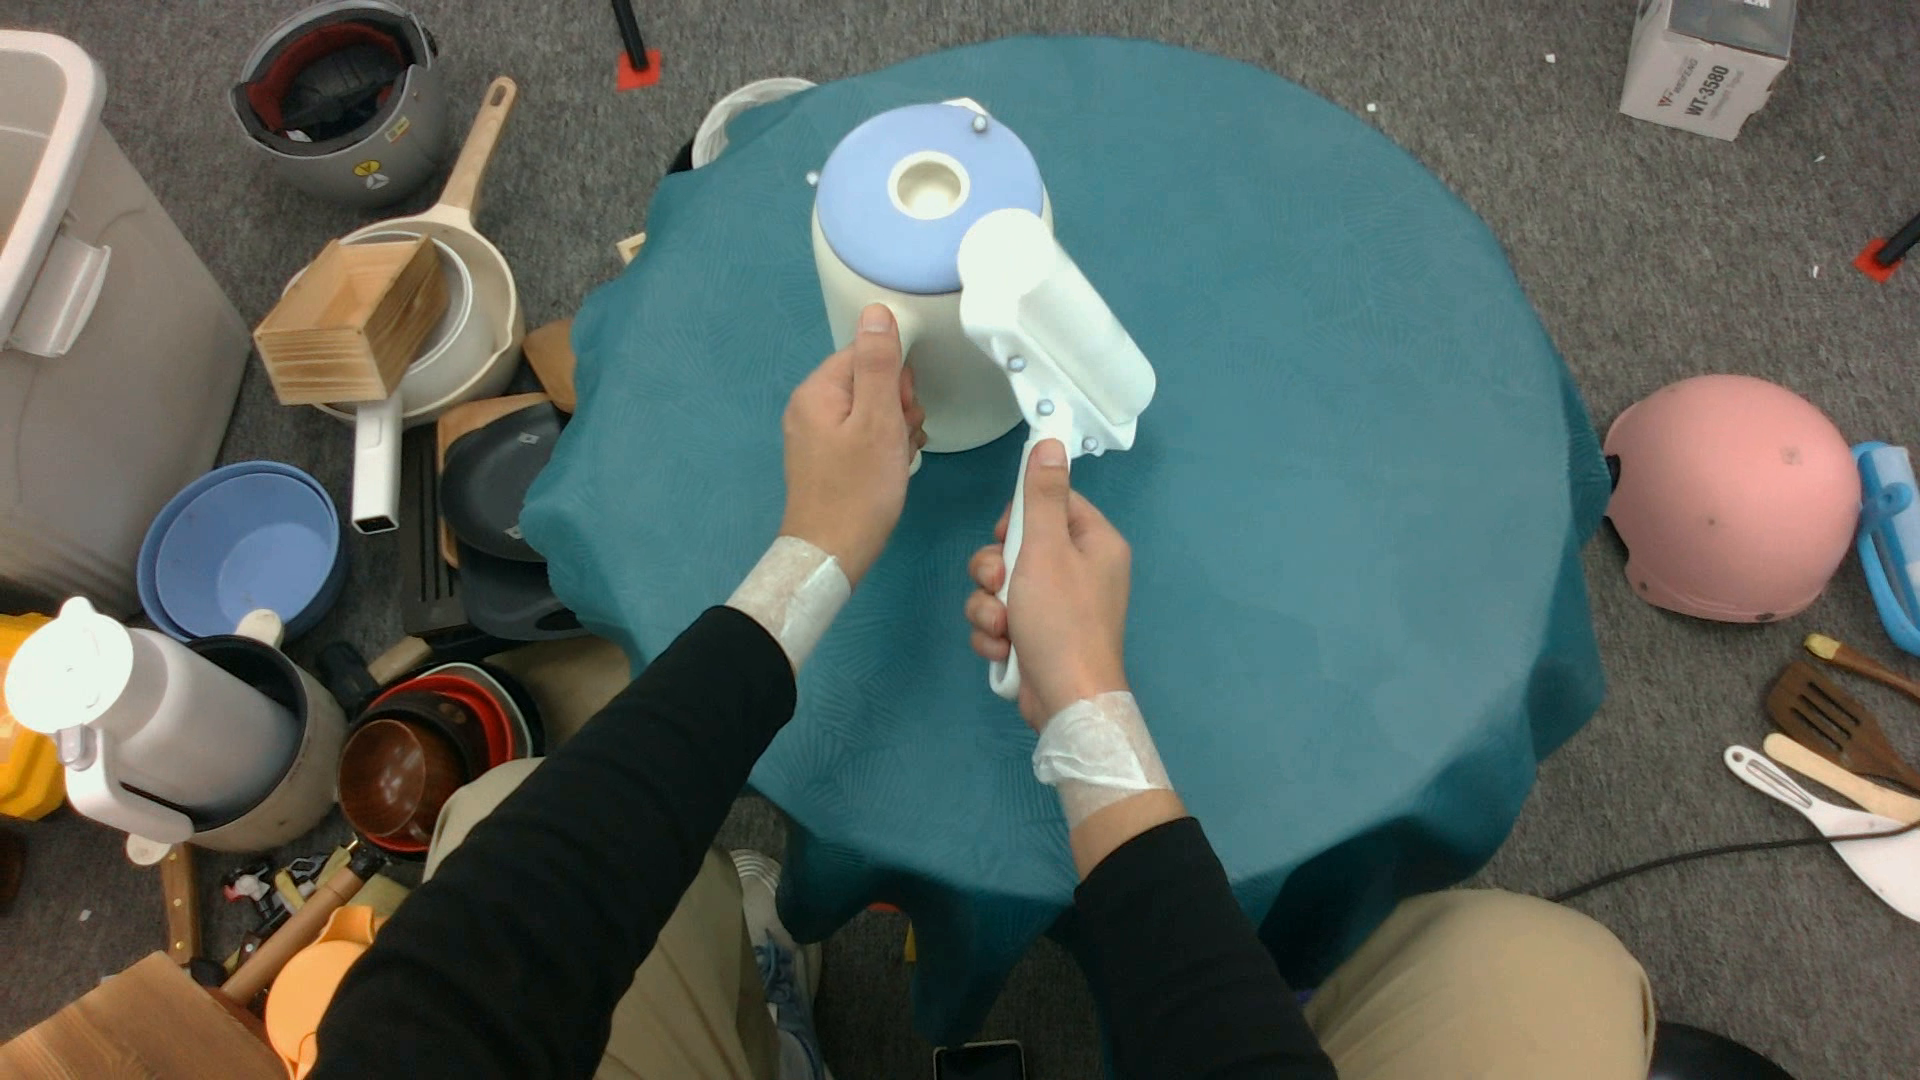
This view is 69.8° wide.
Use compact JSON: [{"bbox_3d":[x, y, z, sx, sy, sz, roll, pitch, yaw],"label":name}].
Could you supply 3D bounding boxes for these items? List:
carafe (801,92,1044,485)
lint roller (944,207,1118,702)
[{"bbox_3d":[-0.025,-0.126,0.778,0.132,0.182,0.192,13,69,9],"label":"carafe"},{"bbox_3d":[0.050,-0.031,0.703,0.048,0.202,0.226,-10,74,15],"label":"lint roller"}]
